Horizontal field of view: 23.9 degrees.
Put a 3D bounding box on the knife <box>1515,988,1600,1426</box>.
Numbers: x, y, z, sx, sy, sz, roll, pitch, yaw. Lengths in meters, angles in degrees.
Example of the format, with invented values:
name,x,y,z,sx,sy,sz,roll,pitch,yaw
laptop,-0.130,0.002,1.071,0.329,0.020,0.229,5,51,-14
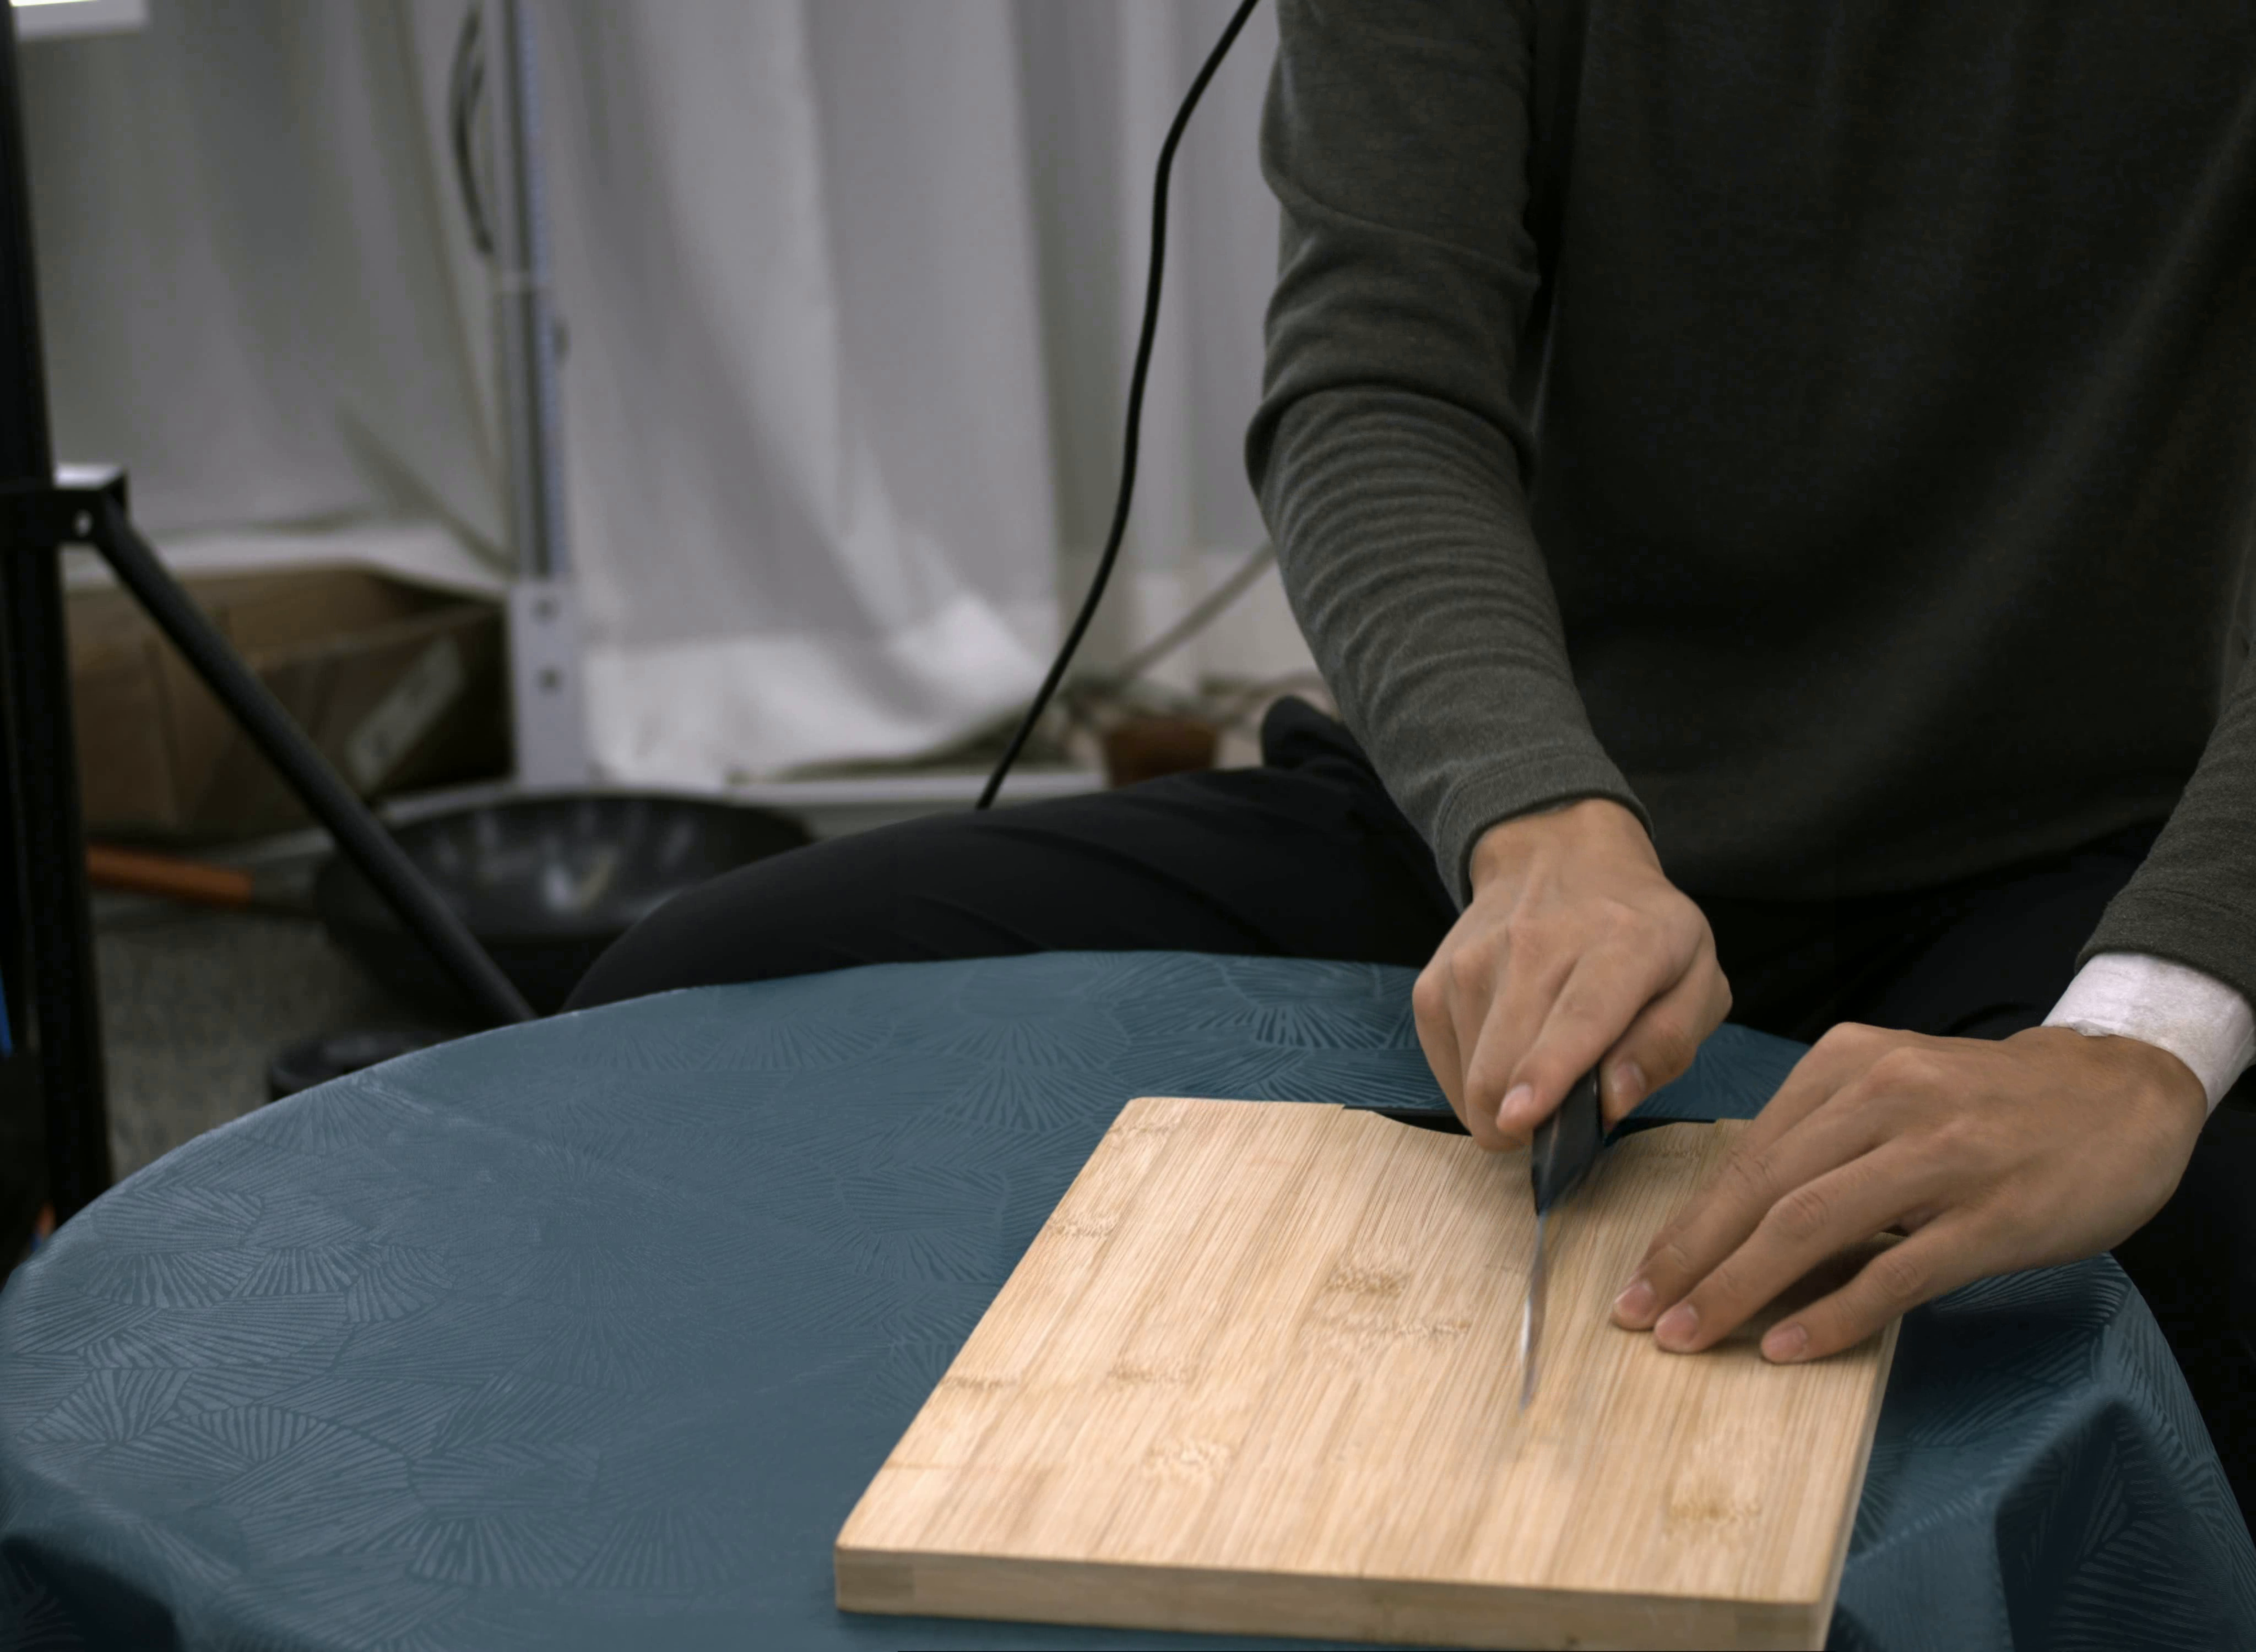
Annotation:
name,x,y,z,sx,sy,sz,roll,pitch,yaw
knife,0.112,0.097,1.398,0.016,0.024,0.238,0,23,9

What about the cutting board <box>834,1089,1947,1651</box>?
name,x,y,z,sx,sy,sz,roll,pitch,yaw
cutting board,0.084,0.139,1.411,0.252,0.023,0.346,2,16,12
